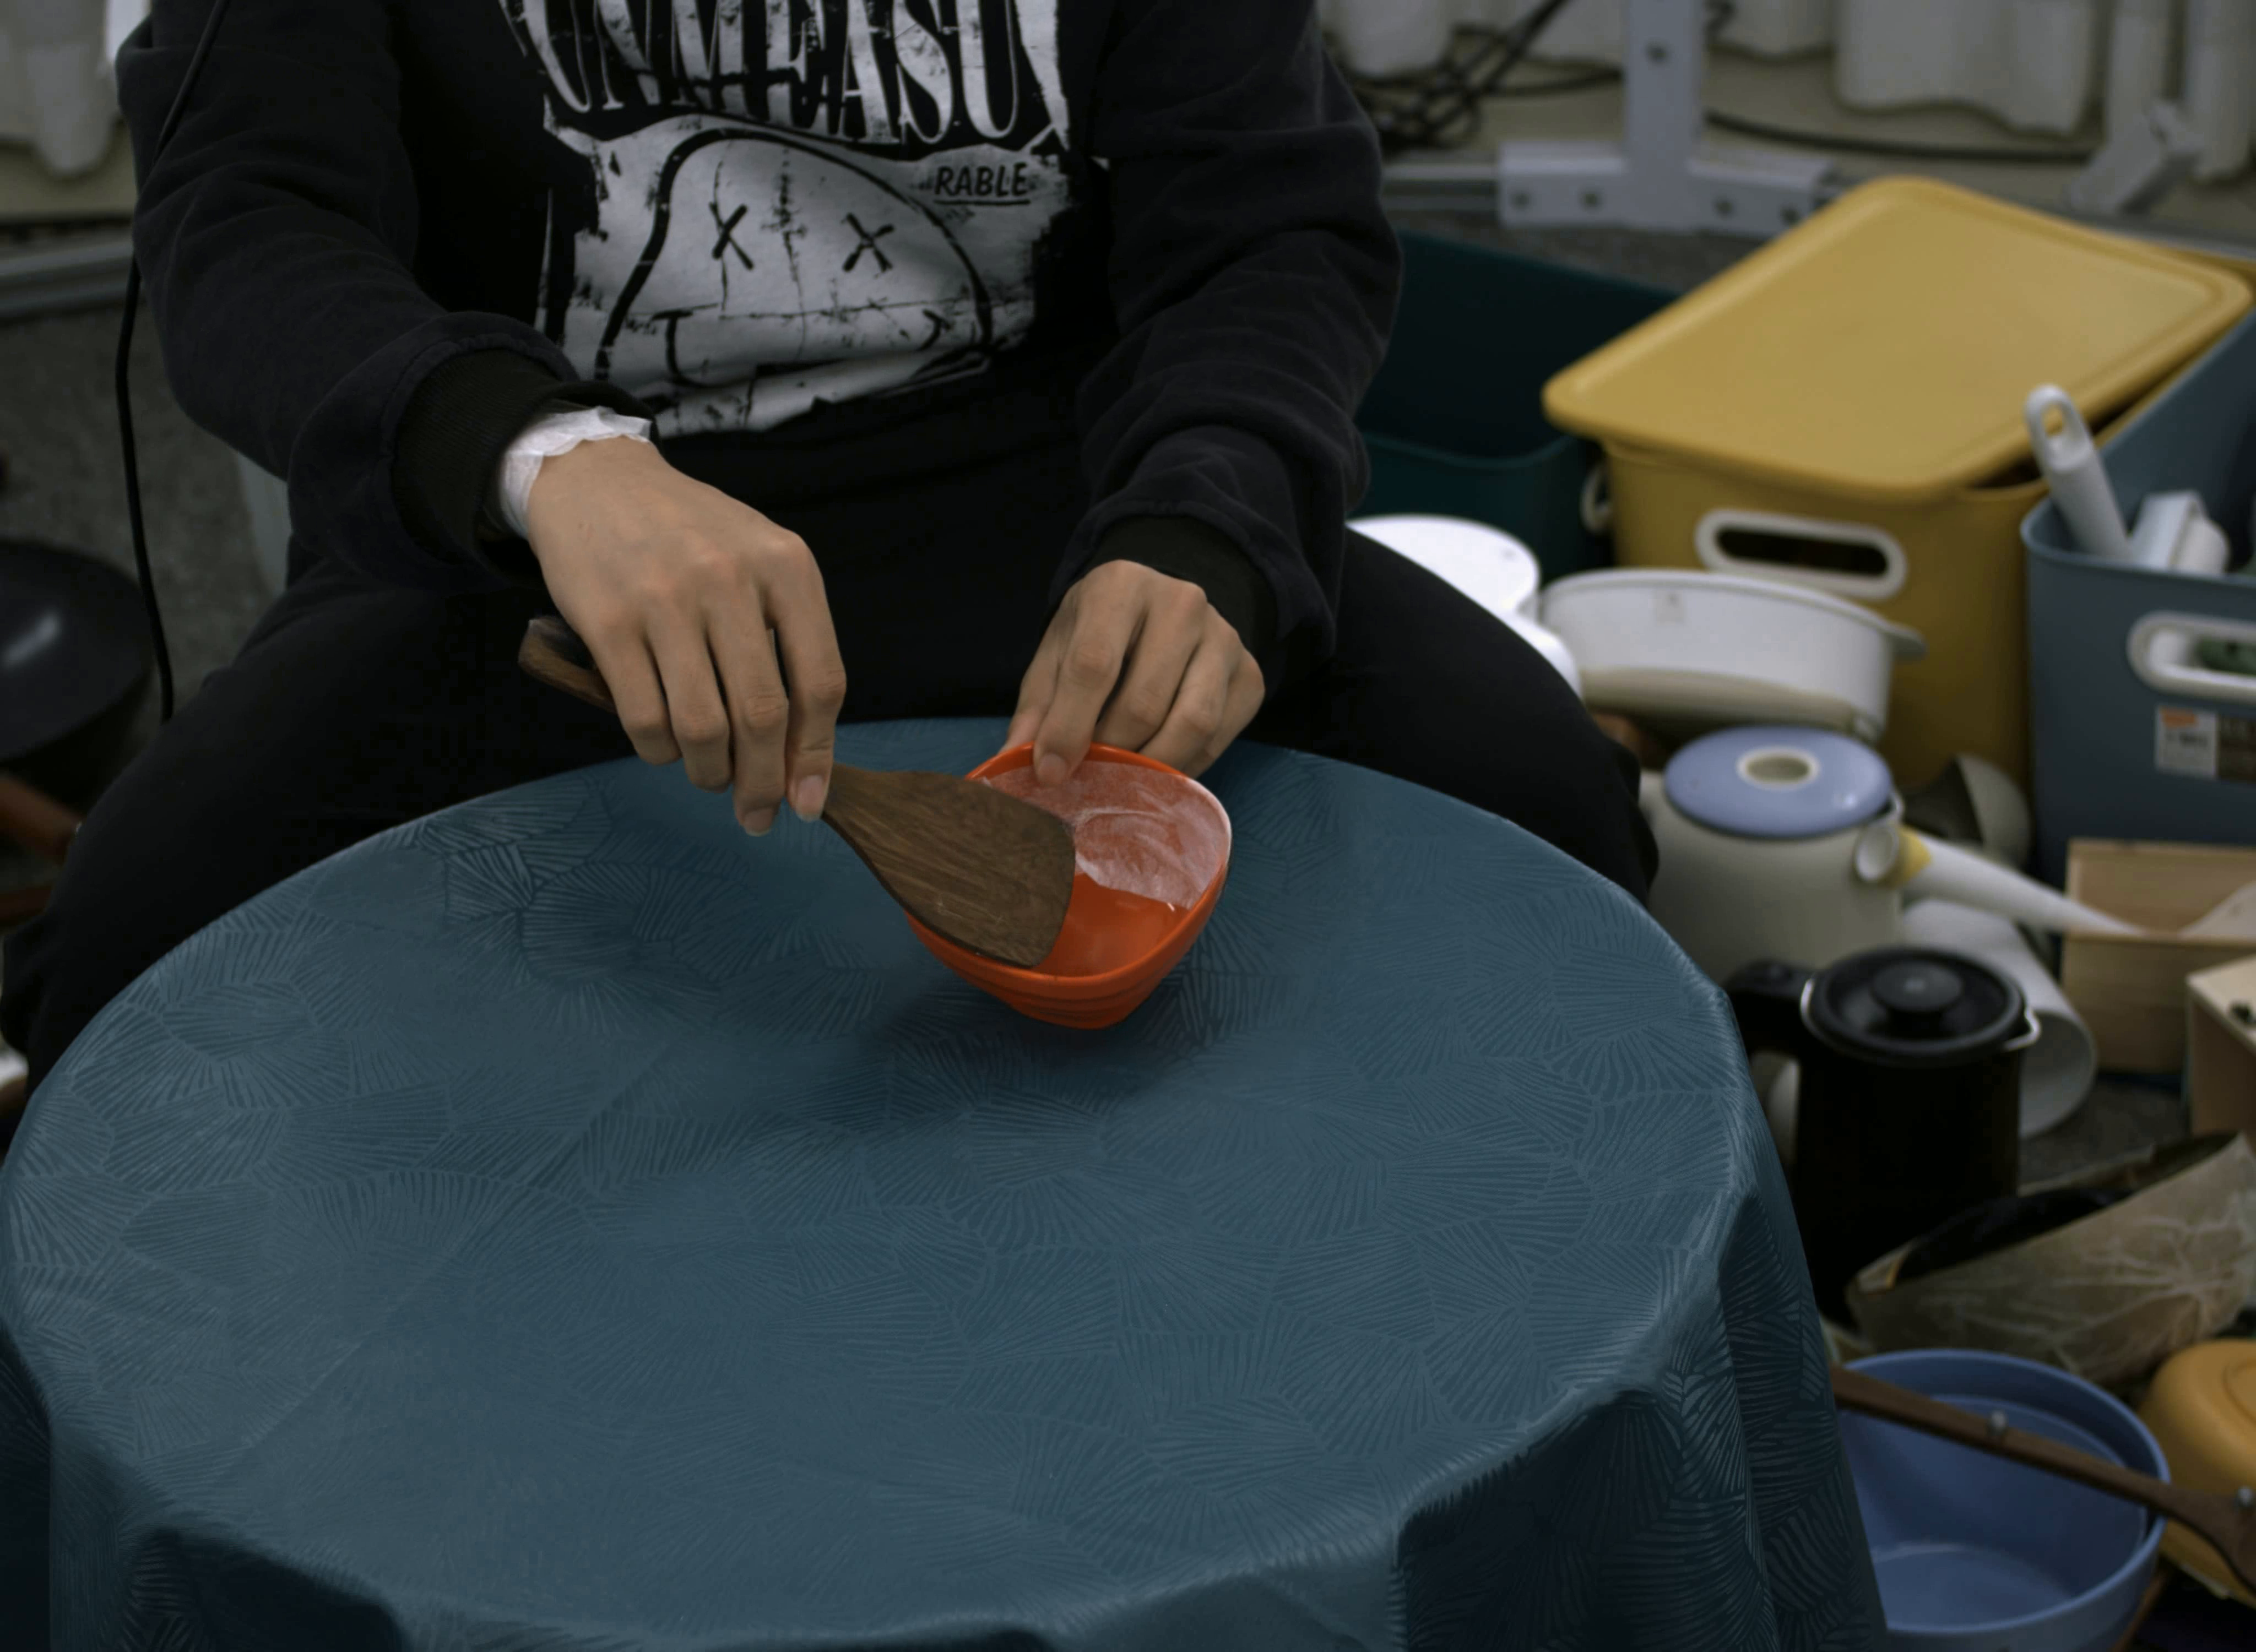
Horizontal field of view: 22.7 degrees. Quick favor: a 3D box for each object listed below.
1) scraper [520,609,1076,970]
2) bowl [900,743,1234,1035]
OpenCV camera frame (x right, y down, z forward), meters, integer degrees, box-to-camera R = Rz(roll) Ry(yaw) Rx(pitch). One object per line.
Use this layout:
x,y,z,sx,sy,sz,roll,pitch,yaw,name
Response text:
-0.113,-0.018,1.921,0.210,0.010,0.077,28,41,-12,scraper
-0.019,0.029,1.969,0.118,0.050,0.121,-4,46,5,bowl
